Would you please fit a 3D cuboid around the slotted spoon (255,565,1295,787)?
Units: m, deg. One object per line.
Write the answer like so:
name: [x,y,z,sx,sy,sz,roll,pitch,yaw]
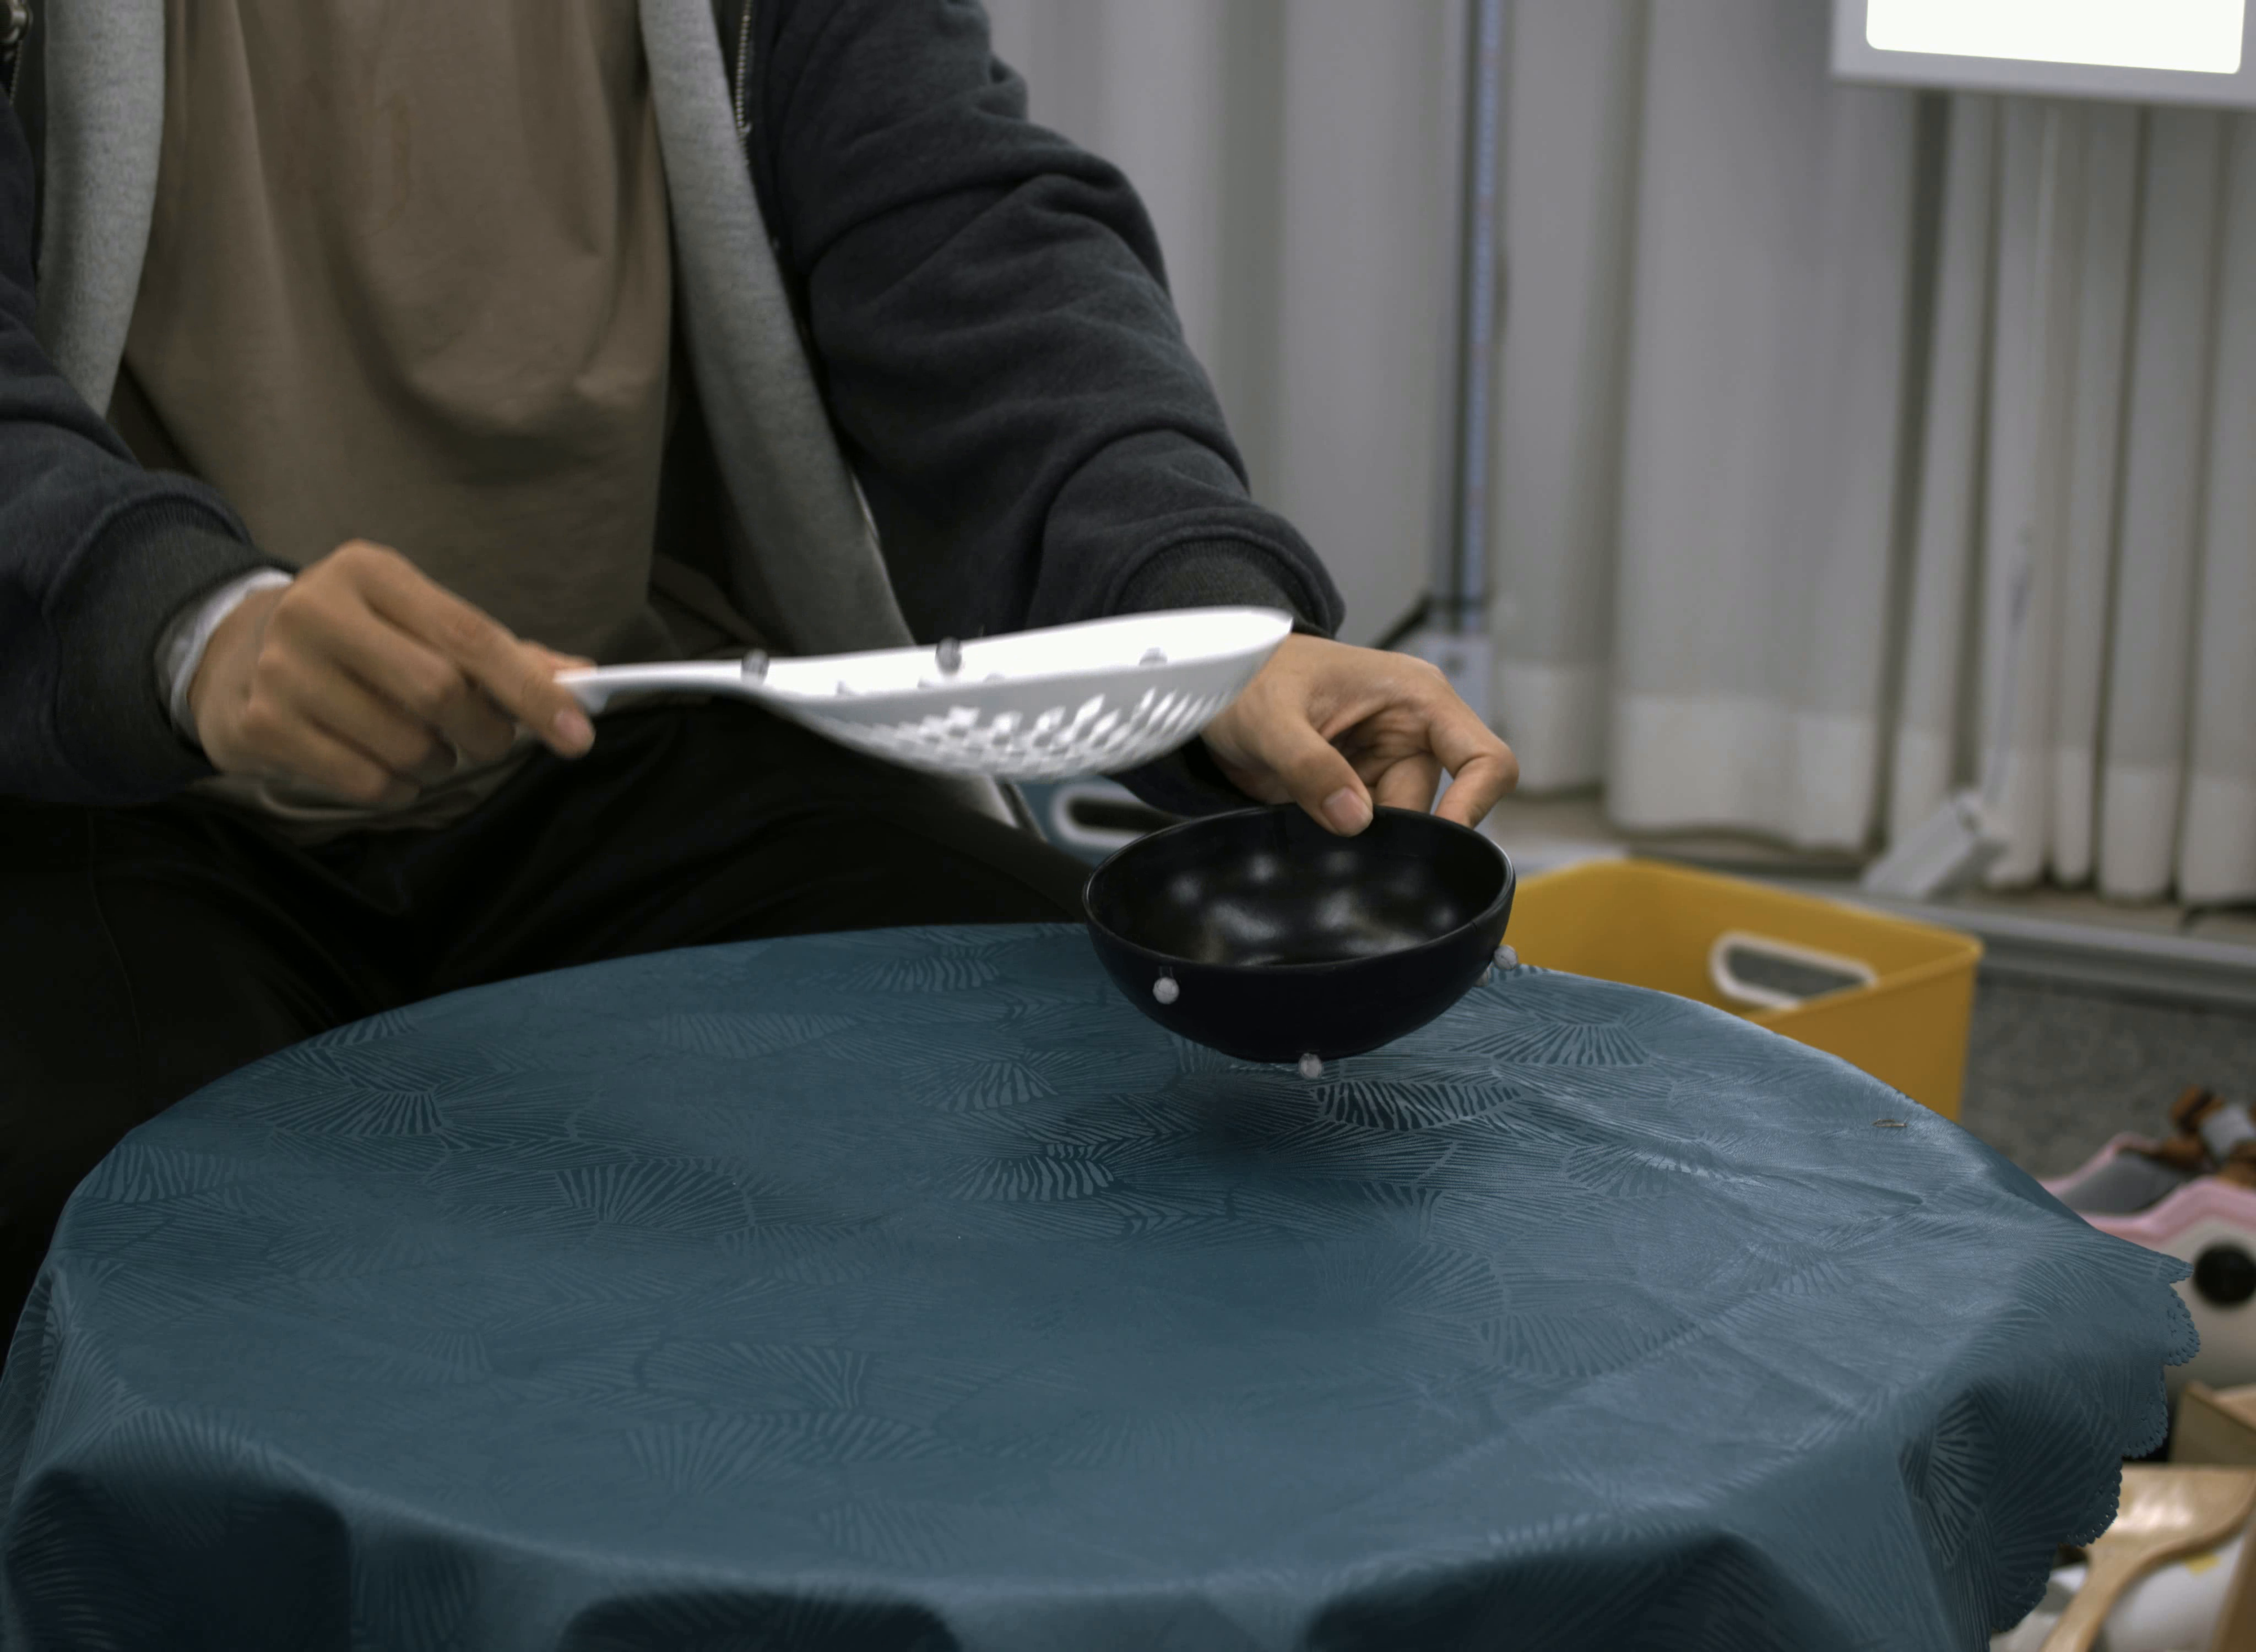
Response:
slotted spoon: [-0.114,-0.040,1.576,0.344,0.050,0.137,0,12,25]
